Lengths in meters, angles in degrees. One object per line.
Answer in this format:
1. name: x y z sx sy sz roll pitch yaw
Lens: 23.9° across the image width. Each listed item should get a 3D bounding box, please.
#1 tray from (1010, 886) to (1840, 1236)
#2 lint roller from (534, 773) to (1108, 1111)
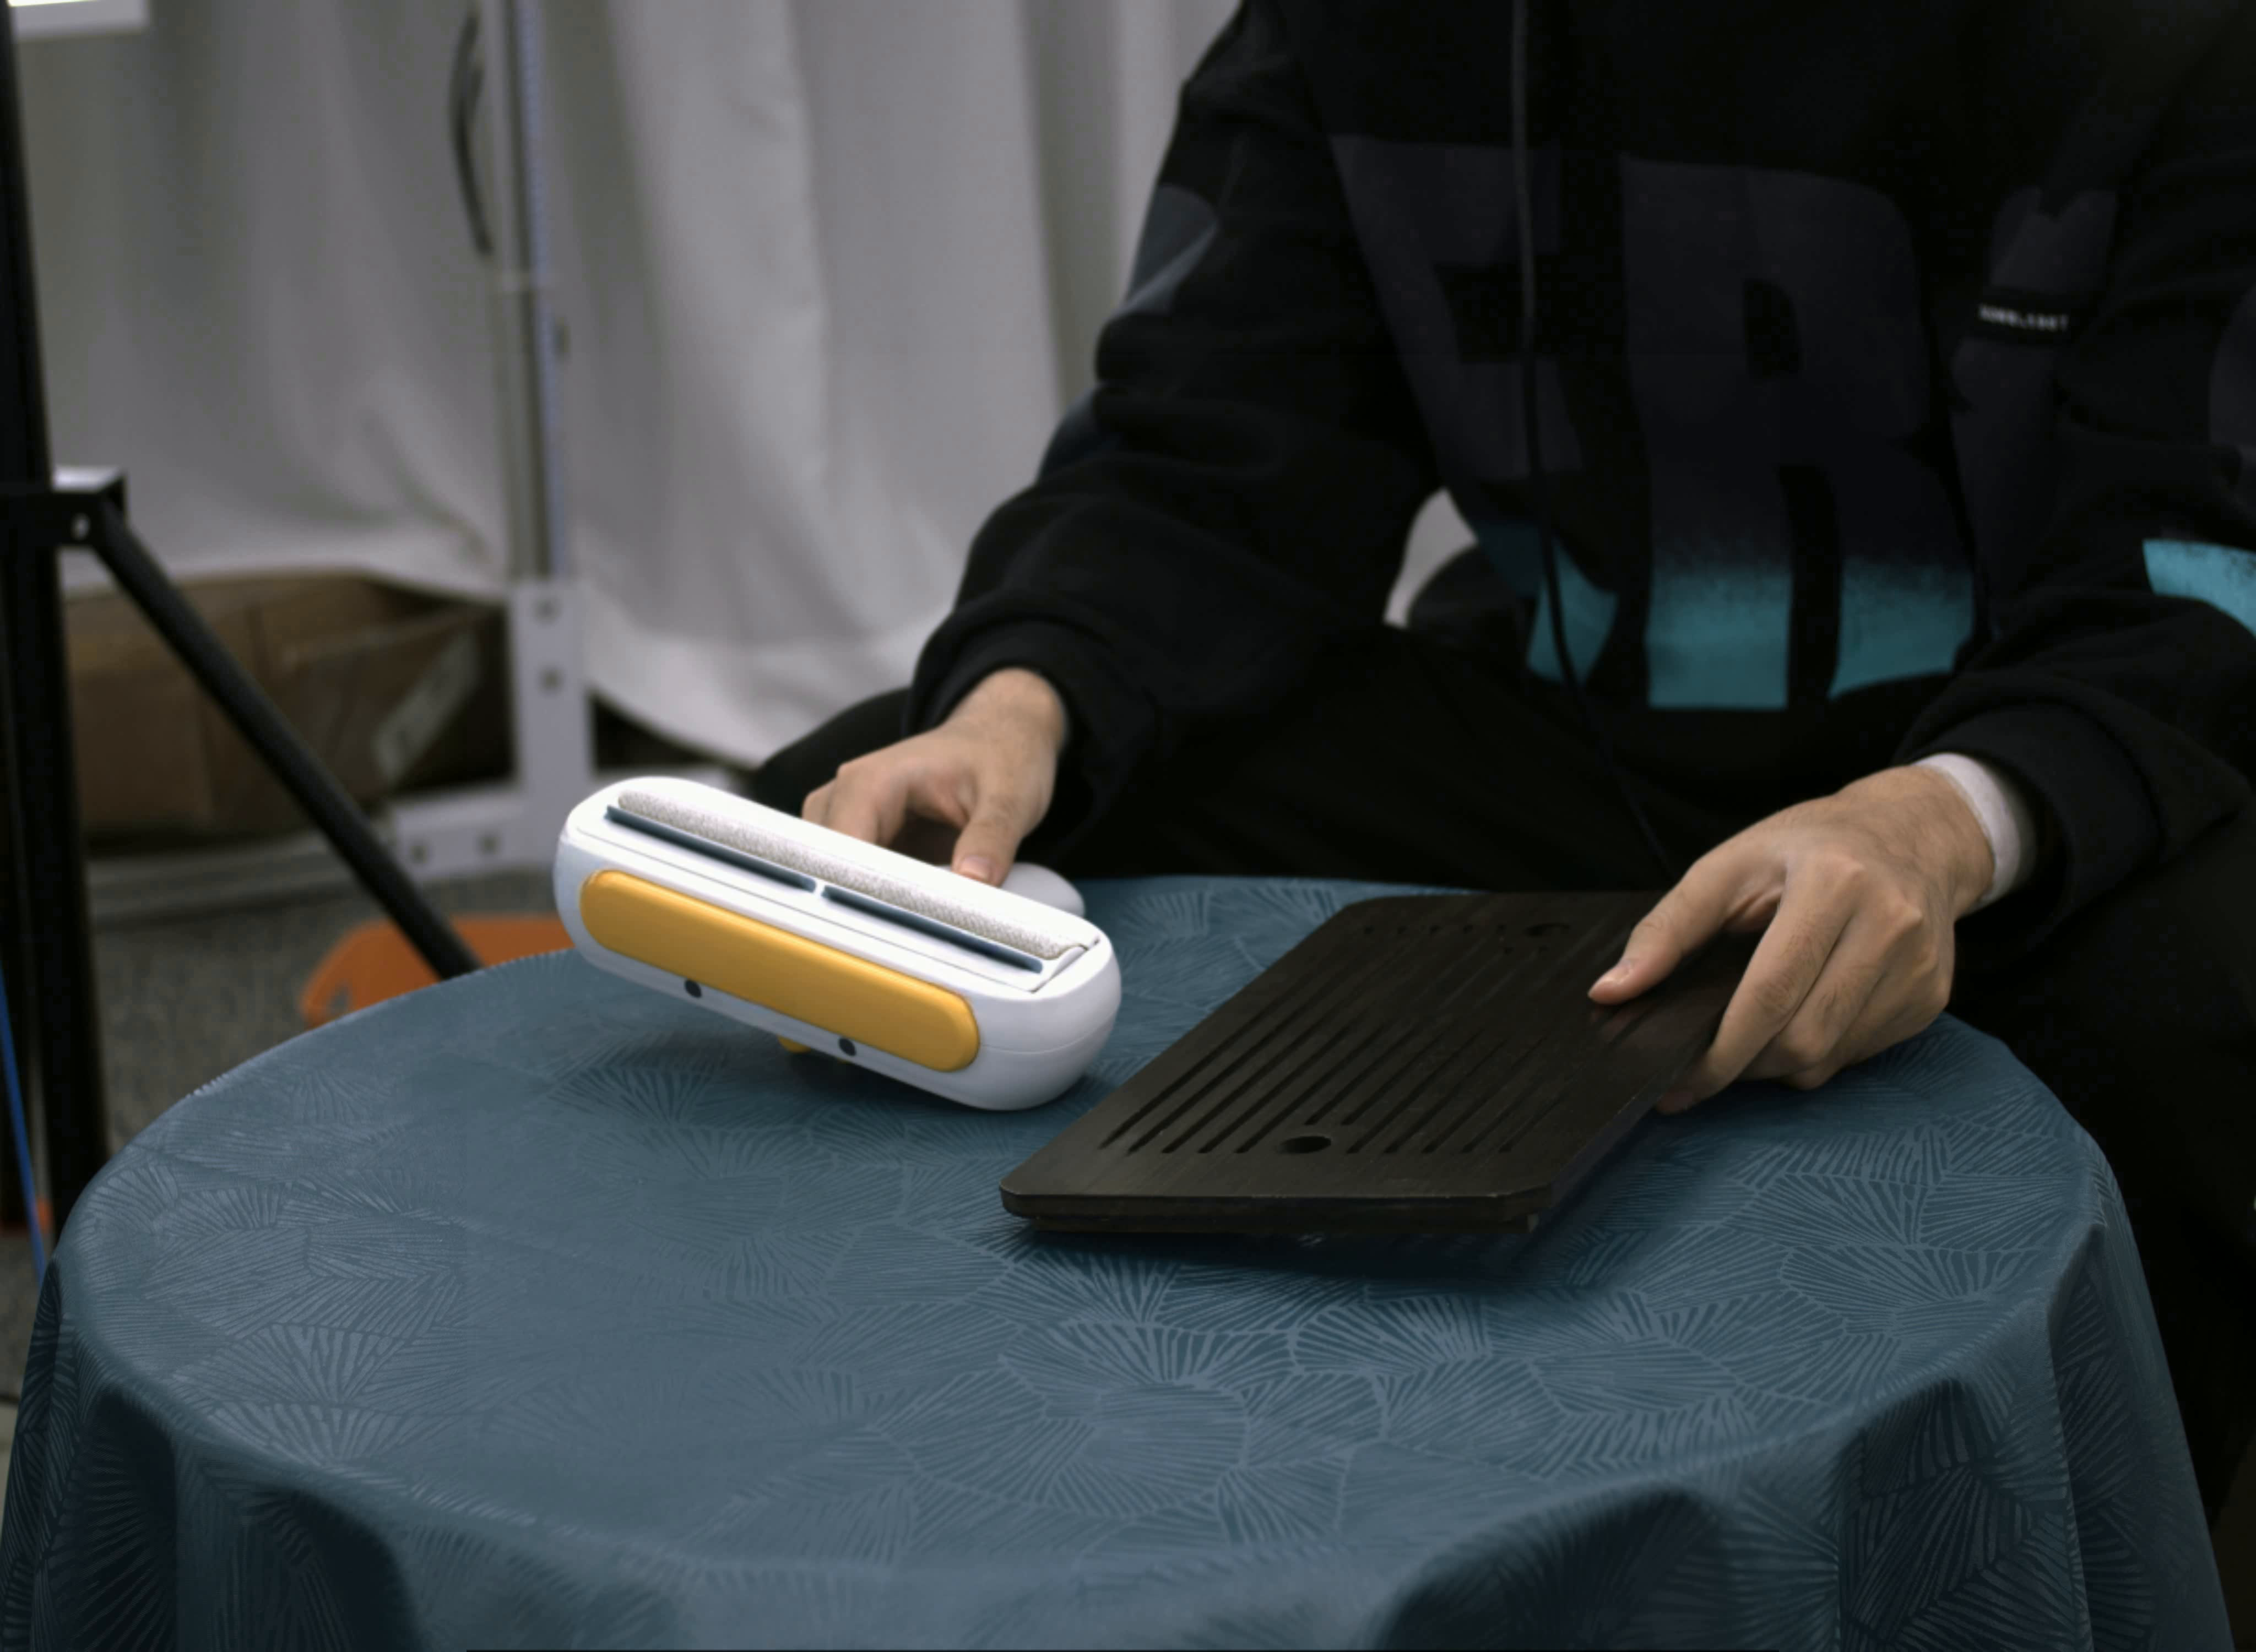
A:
1. tray: 0.098 0.070 1.612 0.172 0.018 0.301 -2 15 25
2. lint roller: -0.069 0.028 1.725 0.196 0.074 0.188 16 22 30
